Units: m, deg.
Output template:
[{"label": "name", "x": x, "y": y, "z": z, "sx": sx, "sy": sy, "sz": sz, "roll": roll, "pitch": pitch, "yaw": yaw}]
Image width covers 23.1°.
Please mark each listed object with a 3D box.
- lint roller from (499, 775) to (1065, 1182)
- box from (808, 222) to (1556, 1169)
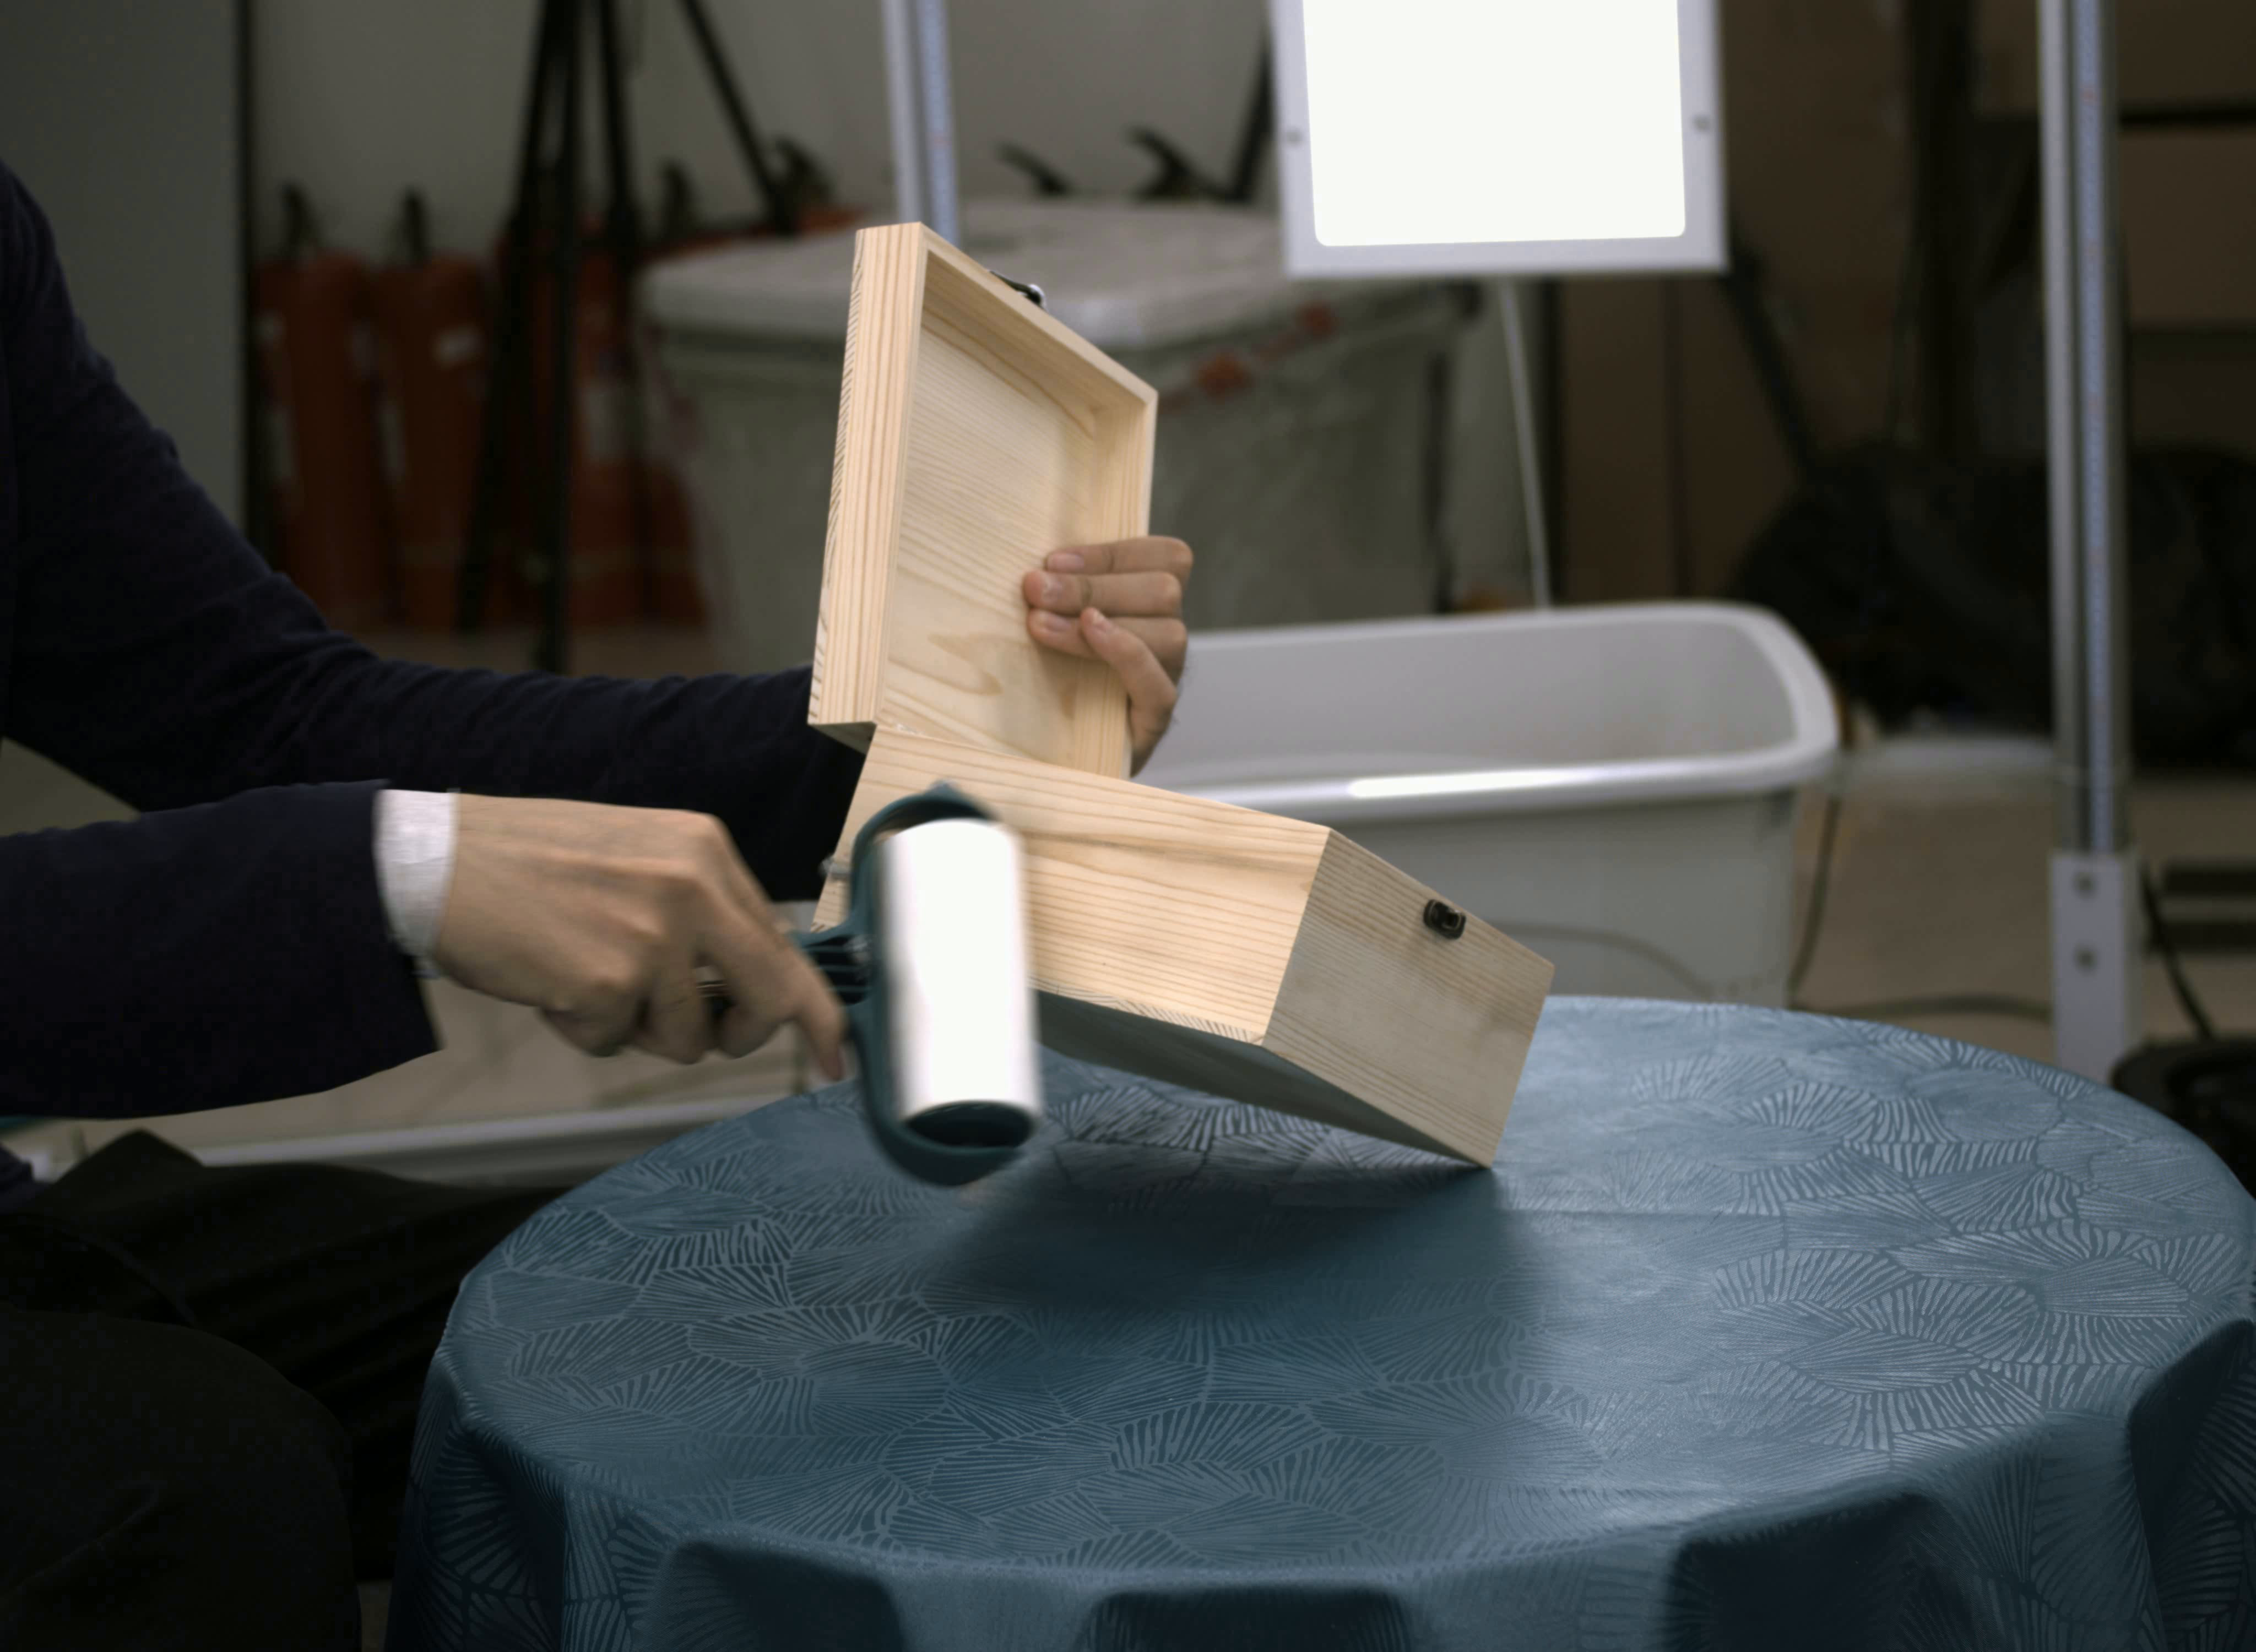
[{"label": "lint roller", "x": -0.108, "y": 0.043, "z": 1.751, "sx": 0.176, "sy": 0.134, "sz": 0.049, "roll": 6, "pitch": -25, "yaw": -23}, {"label": "box", "x": 0.019, "y": -0.047, "z": 1.903, "sx": 0.270, "sy": 0.253, "sz": 0.178, "roll": 14, "pitch": -7, "yaw": 32}]
